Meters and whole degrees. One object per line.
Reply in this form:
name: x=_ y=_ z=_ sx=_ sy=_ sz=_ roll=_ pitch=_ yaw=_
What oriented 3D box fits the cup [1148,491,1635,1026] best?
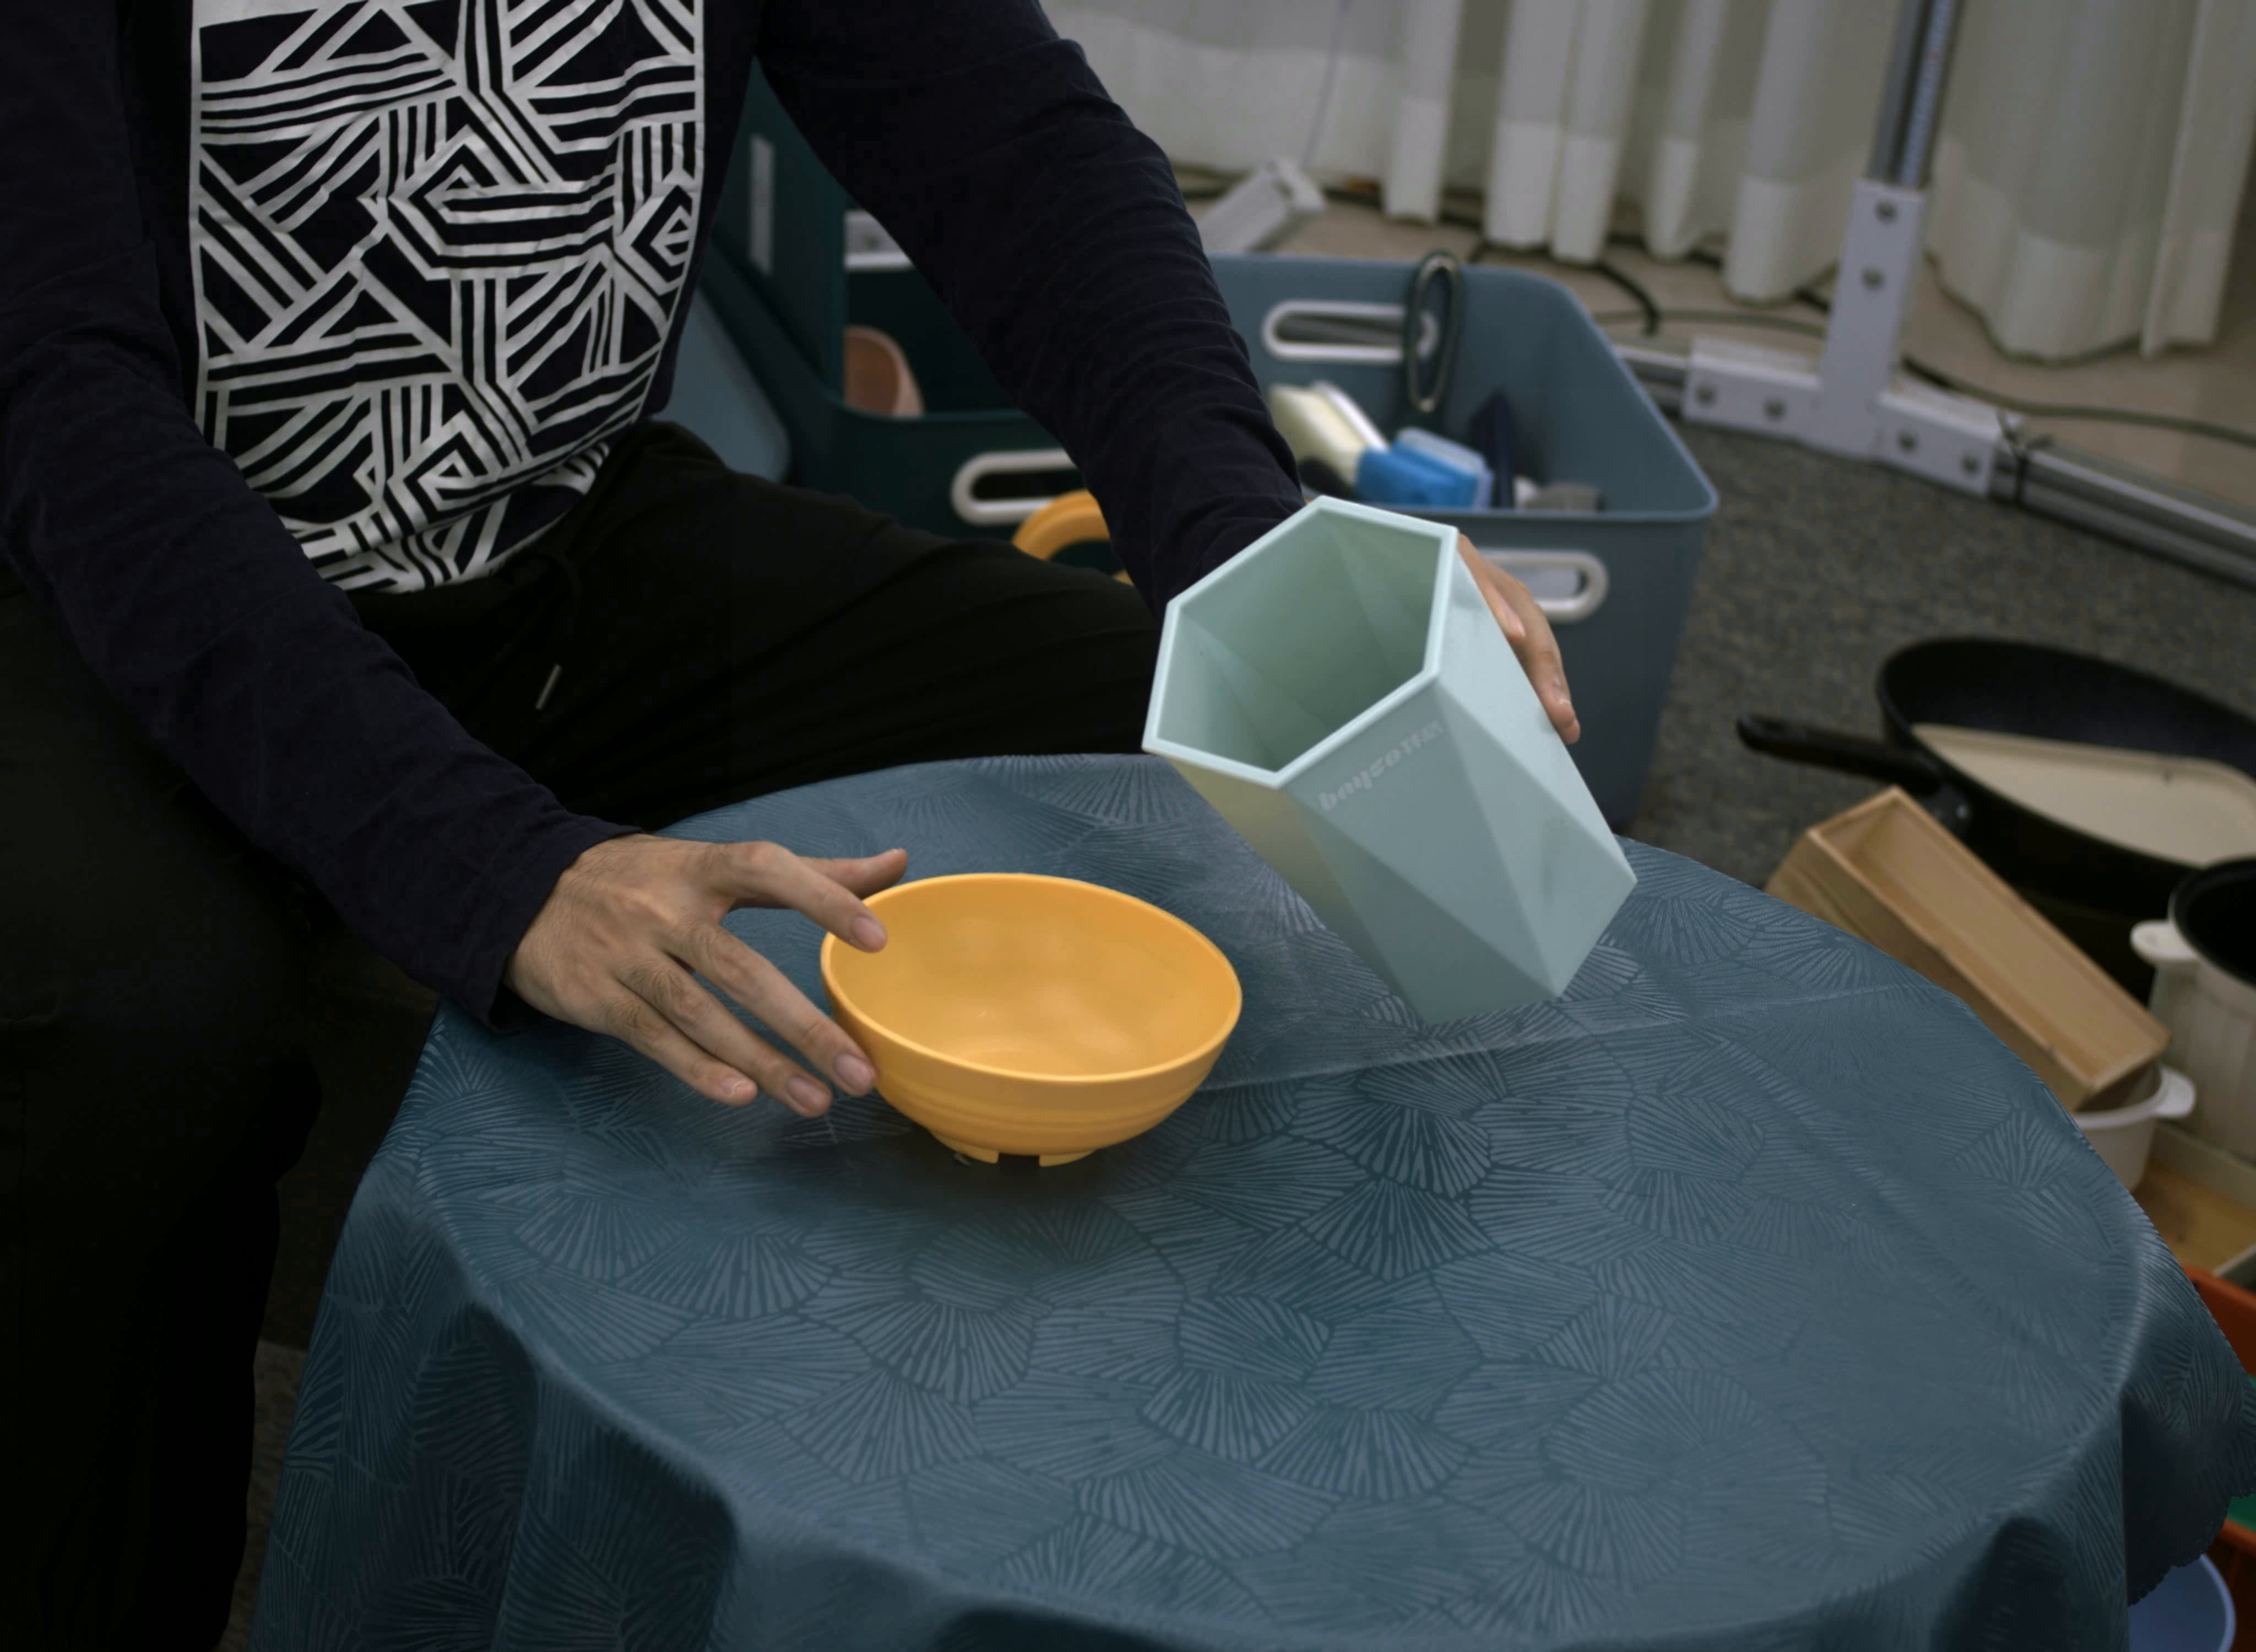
cup: x=0.098 y=-0.018 z=1.864 sx=0.131 sy=0.161 sz=0.116 roll=-35 pitch=38 yaw=3

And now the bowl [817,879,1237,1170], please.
bowl: x=-0.037 y=0.077 z=1.829 sx=0.145 sy=0.060 sz=0.146 roll=5 pitch=25 yaw=-3
